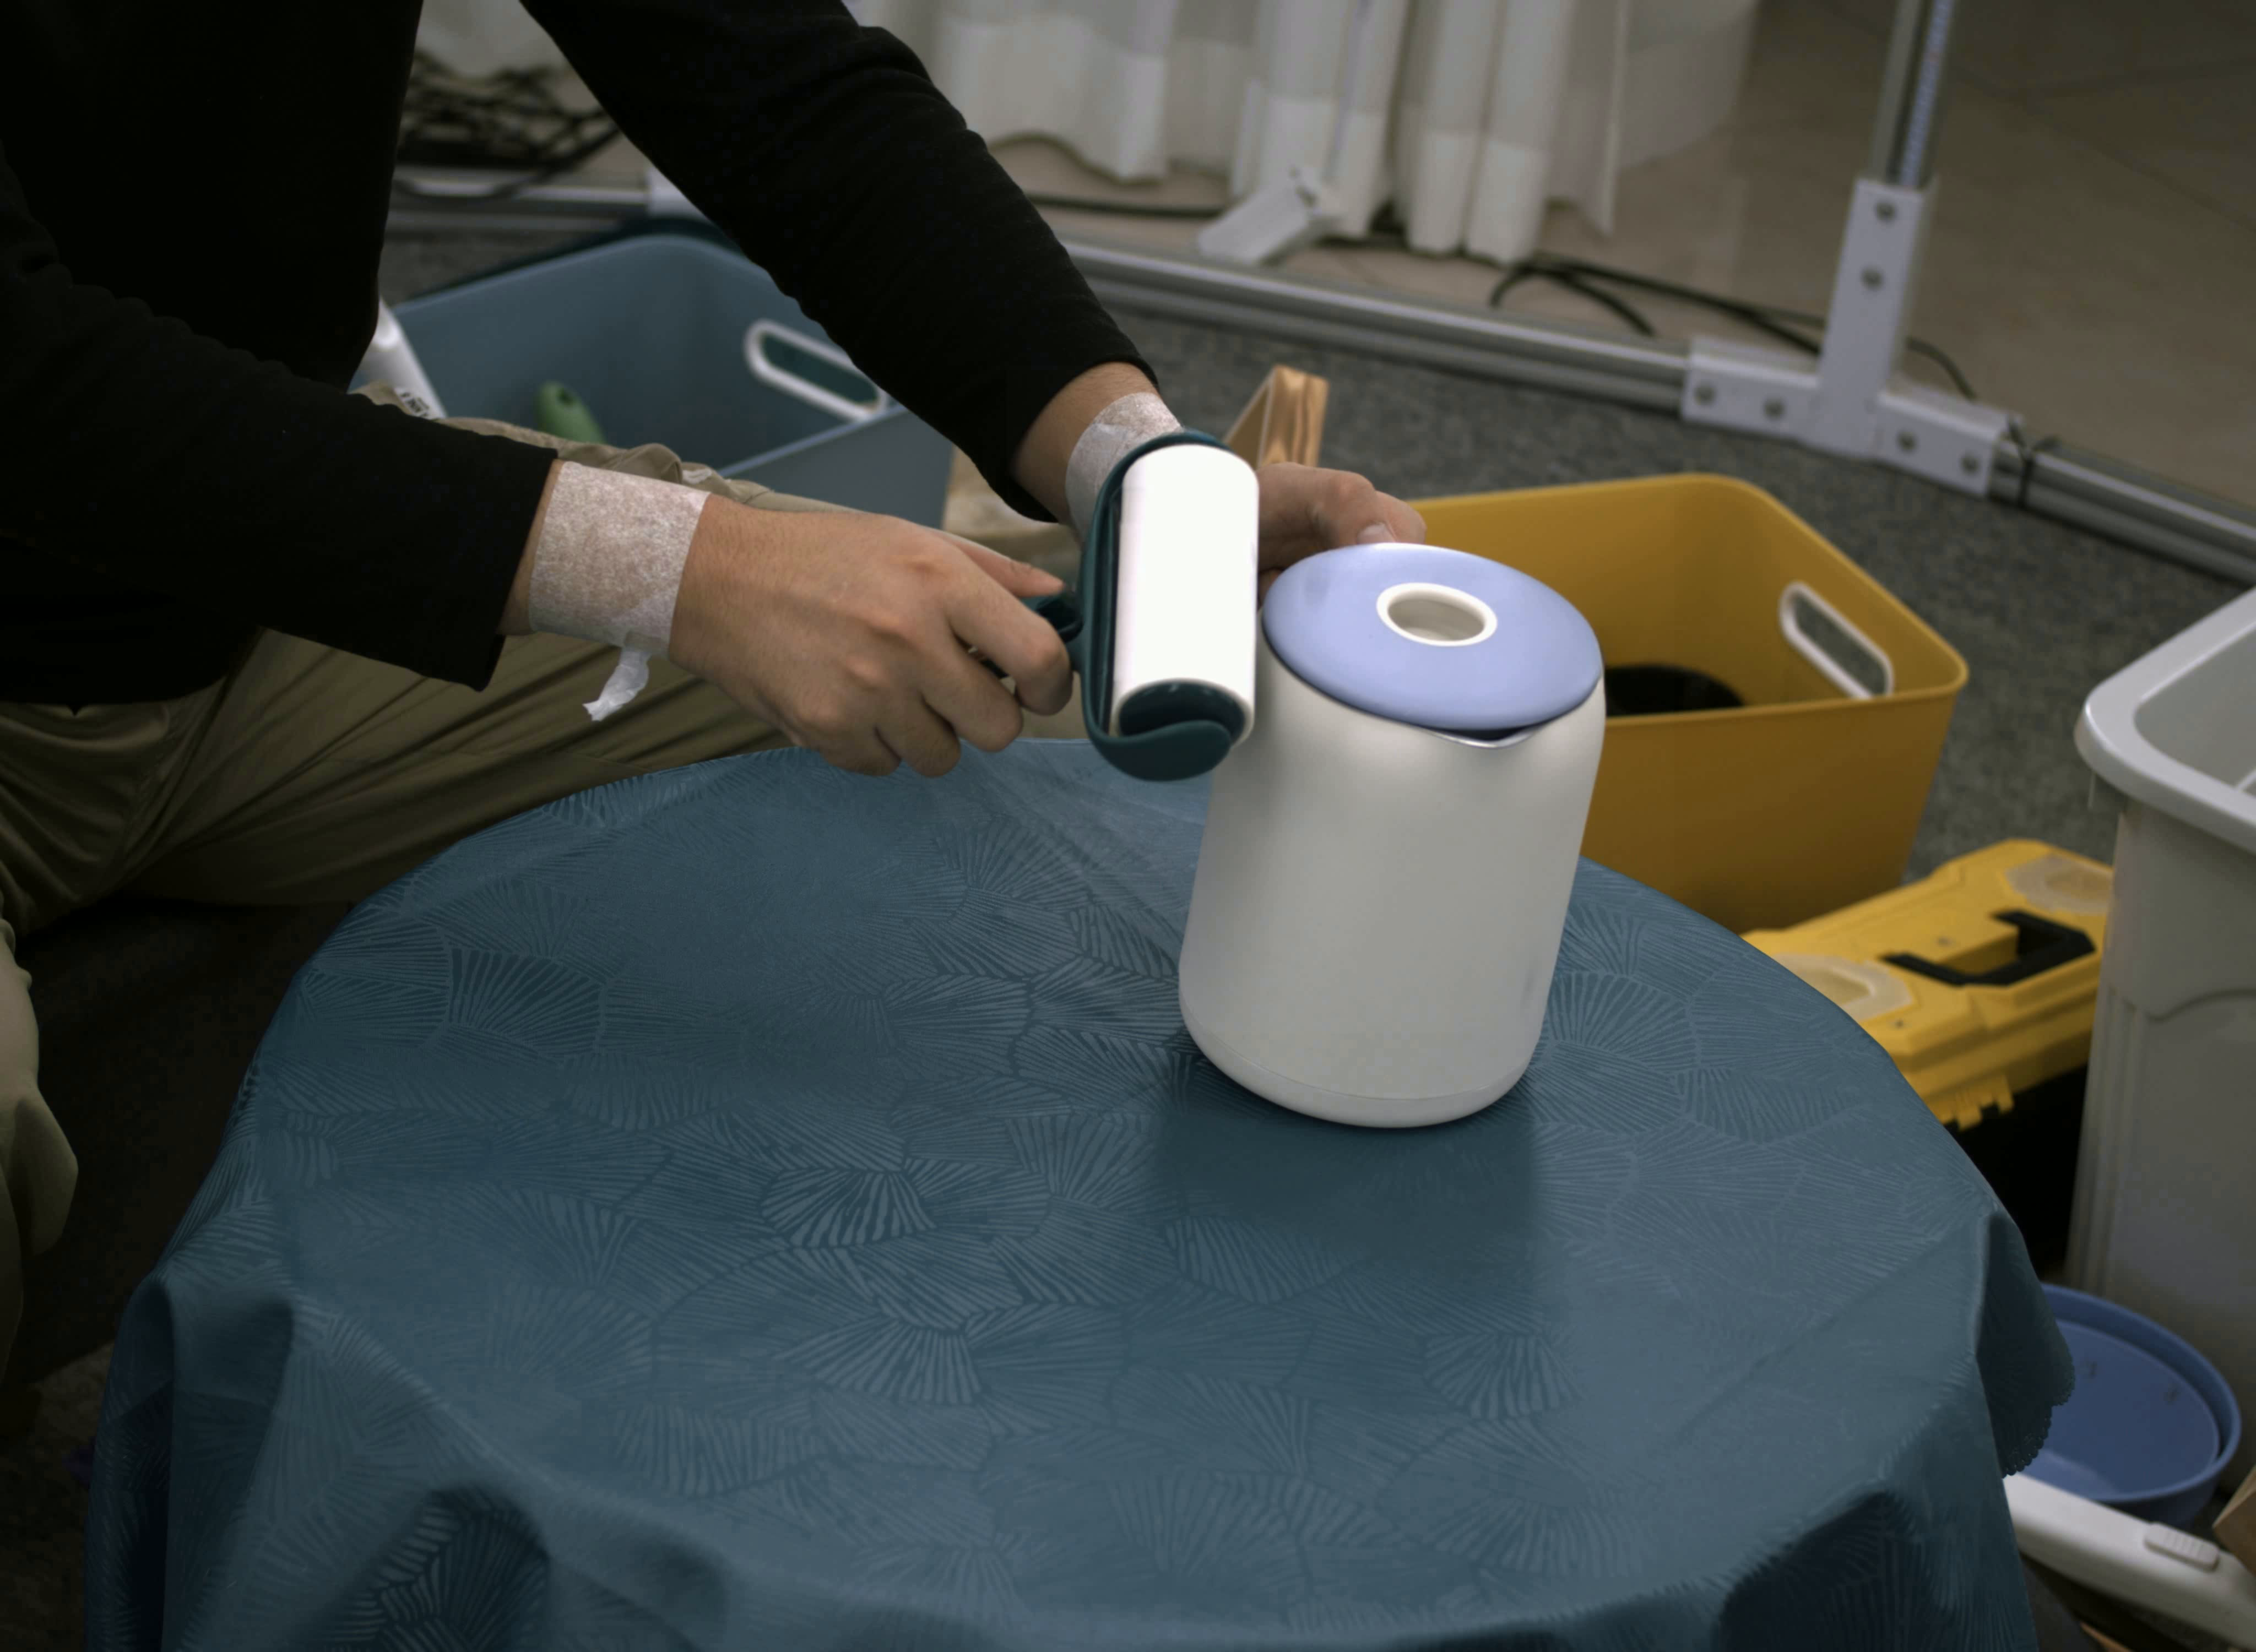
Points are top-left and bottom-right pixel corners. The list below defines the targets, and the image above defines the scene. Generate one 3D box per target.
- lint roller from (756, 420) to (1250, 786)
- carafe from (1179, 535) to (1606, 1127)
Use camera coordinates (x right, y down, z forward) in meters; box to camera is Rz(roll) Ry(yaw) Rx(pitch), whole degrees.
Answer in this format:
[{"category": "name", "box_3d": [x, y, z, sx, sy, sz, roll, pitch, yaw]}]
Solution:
[{"category": "lint roller", "box_3d": [-0.047, -0.066, 1.807, 0.180, 0.048, 0.135, -7, 52, 13]}, {"category": "carafe", "box_3d": [0.085, -0.011, 1.882, 0.131, 0.182, 0.193, -2, 31, -20]}]
